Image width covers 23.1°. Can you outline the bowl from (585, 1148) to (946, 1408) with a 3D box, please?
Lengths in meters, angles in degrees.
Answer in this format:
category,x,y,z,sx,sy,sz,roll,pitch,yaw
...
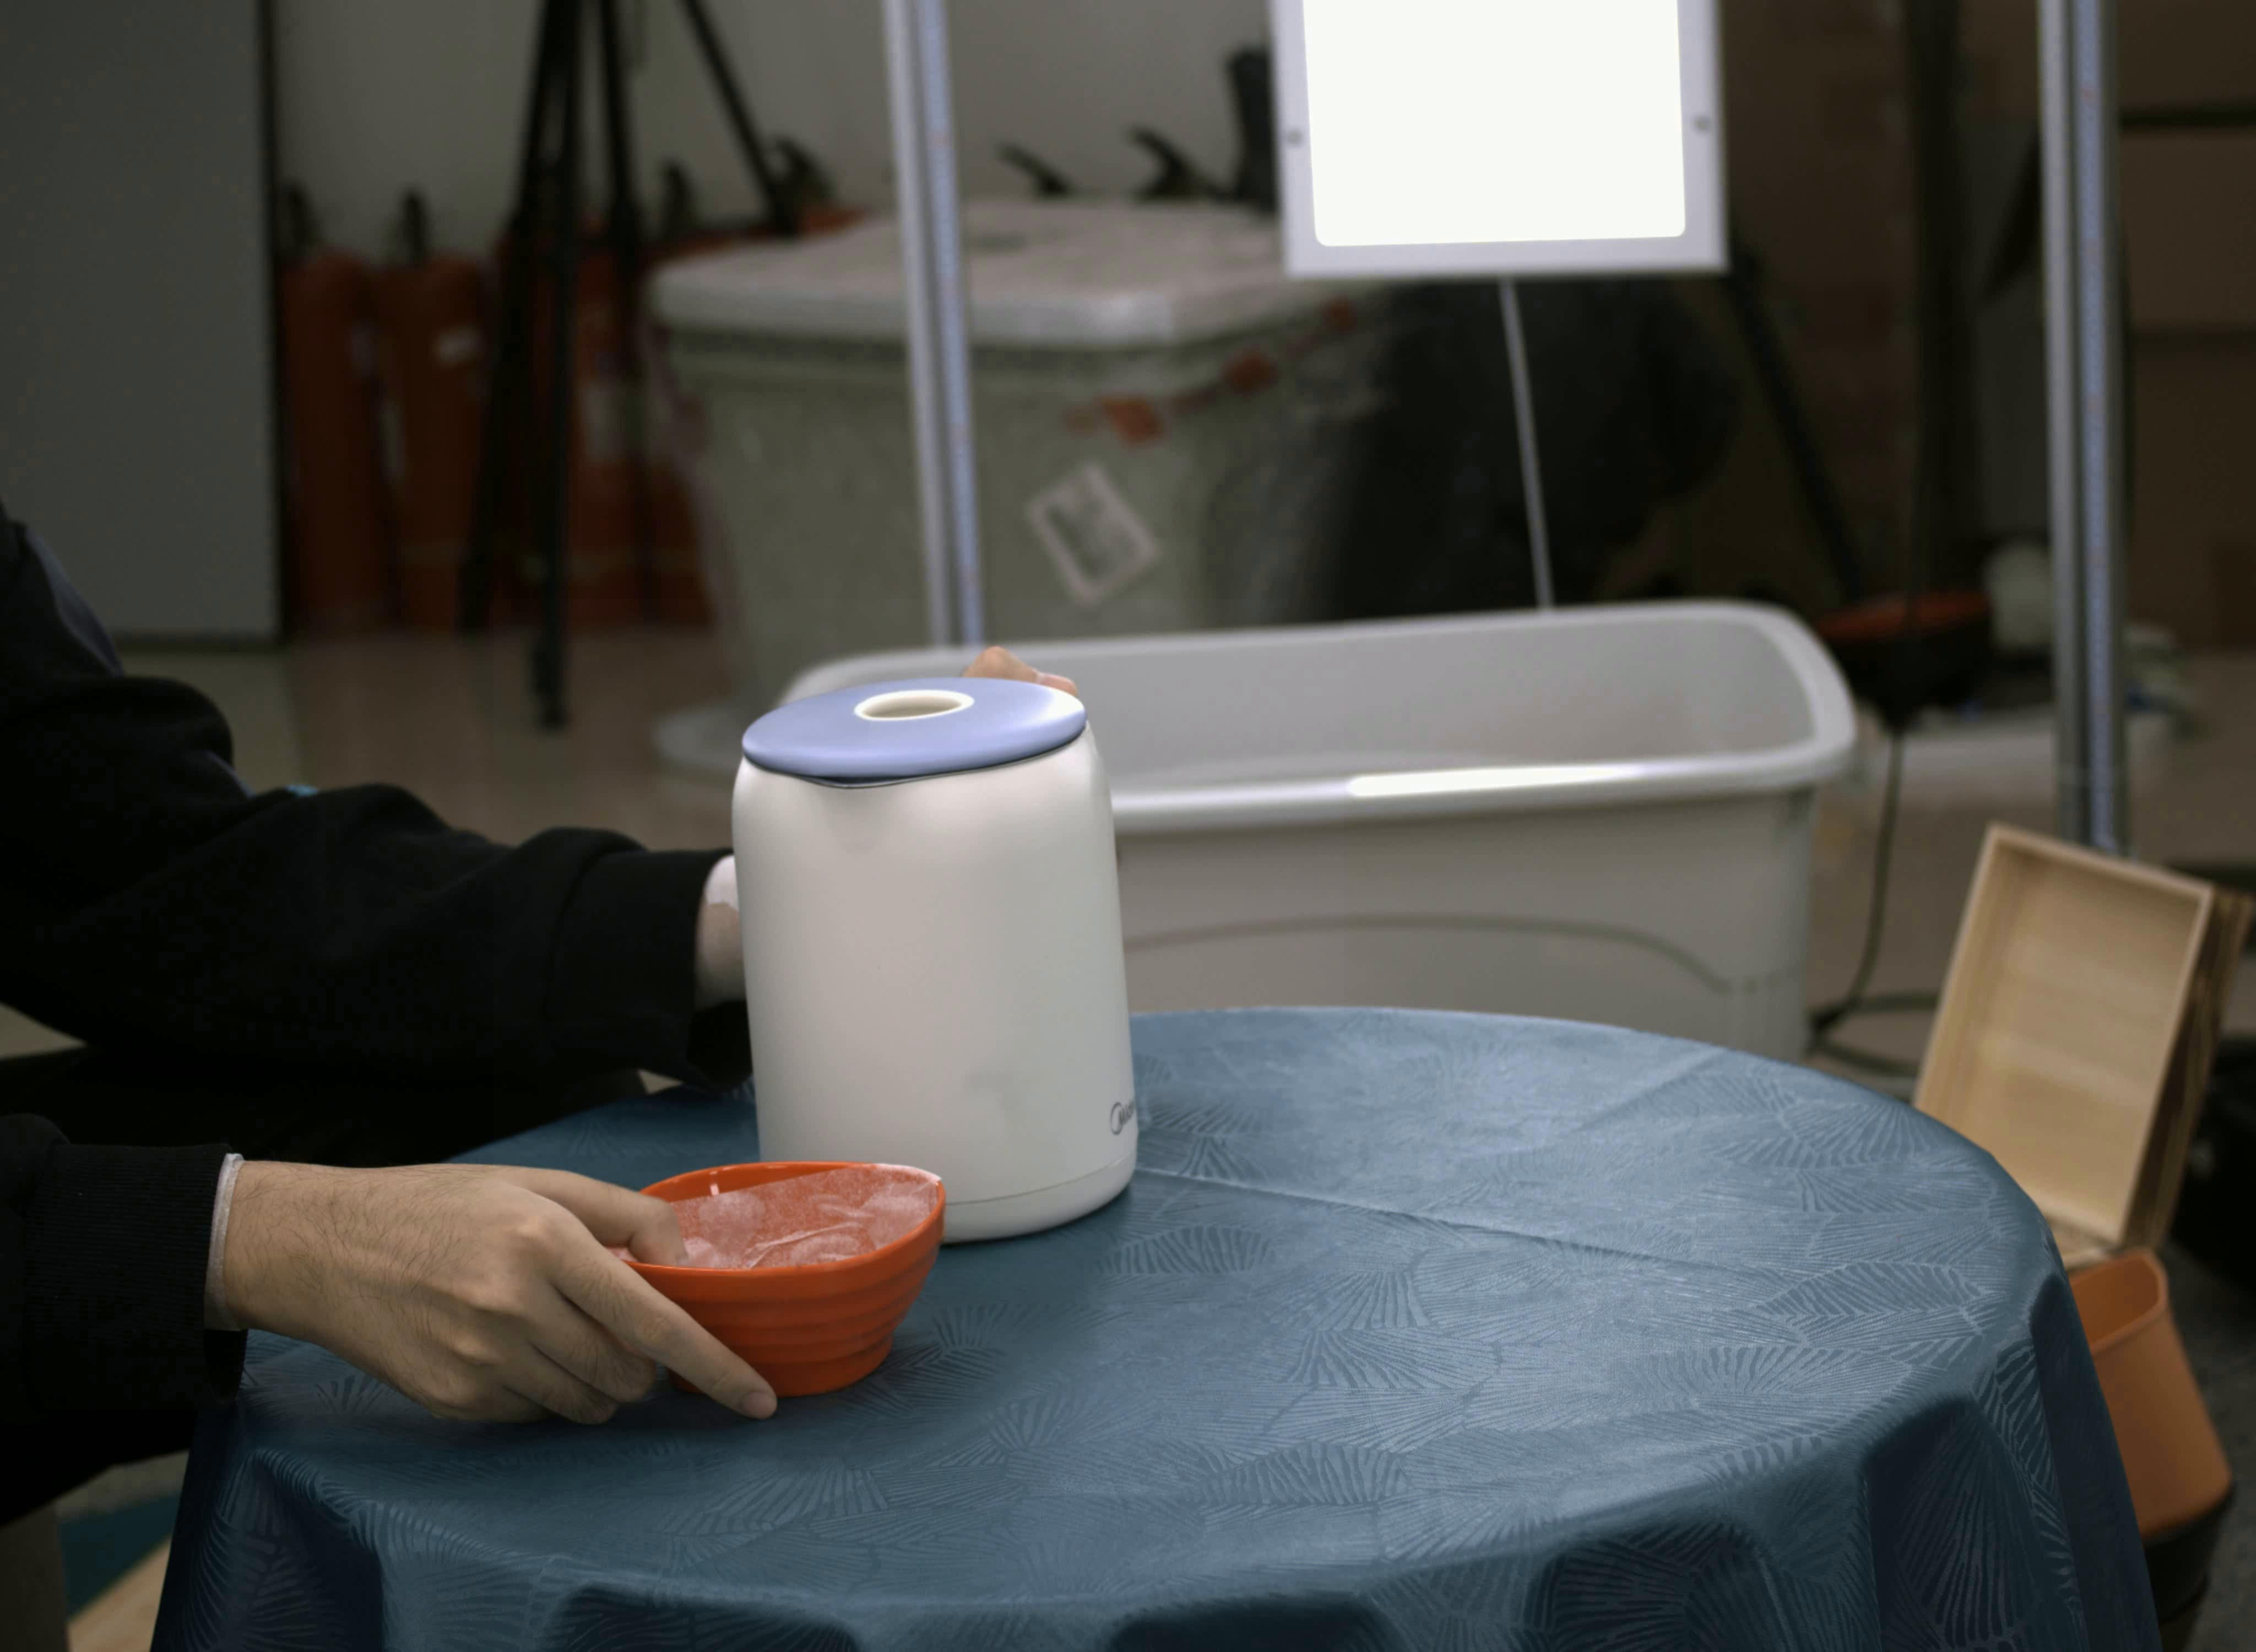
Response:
category,x,y,z,sx,sy,sz,roll,pitch,yaw
bowl,-0.113,0.146,1.748,0.118,0.051,0.118,-3,20,0

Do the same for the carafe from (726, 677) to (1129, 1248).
category,x,y,z,sx,sy,sz,roll,pitch,yaw
carafe,-0.062,0.041,1.911,0.133,0.183,0.188,1,12,16
